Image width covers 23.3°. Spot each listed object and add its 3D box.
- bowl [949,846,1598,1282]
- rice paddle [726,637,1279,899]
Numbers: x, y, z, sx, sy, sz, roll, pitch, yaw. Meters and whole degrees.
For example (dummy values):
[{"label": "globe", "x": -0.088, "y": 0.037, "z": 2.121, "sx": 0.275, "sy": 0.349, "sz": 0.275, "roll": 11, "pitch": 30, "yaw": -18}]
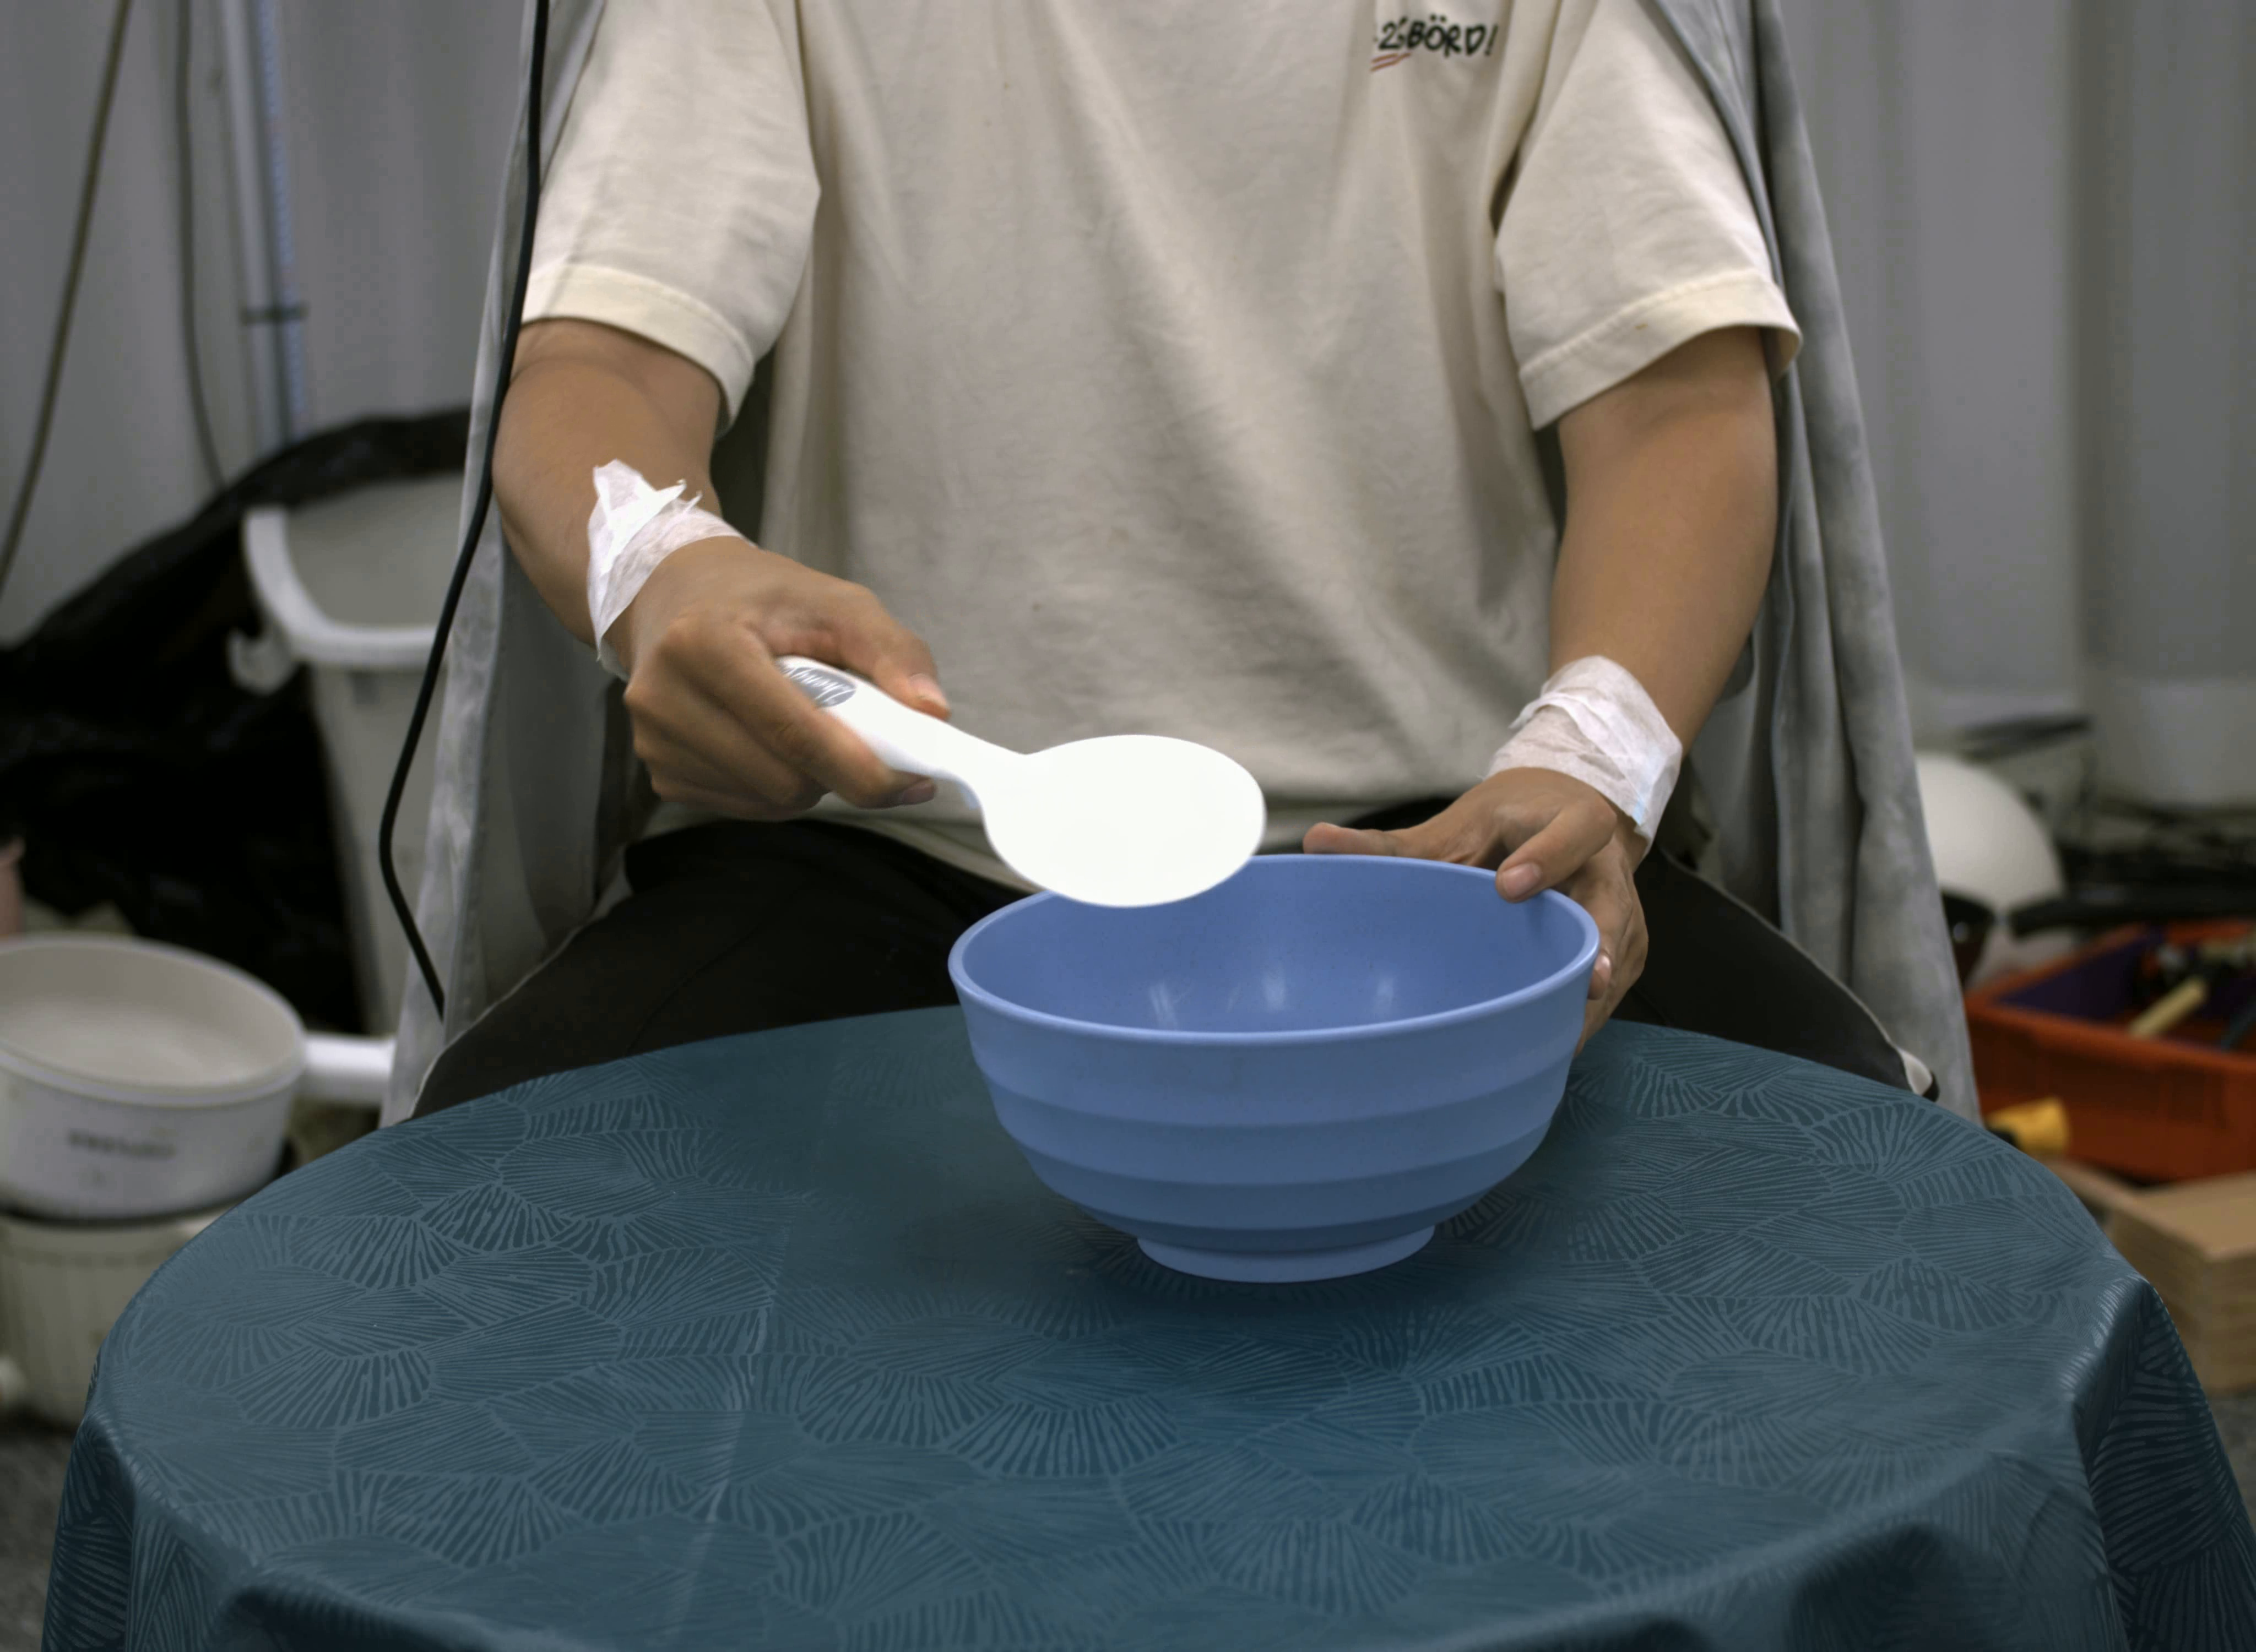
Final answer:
[{"label": "bowl", "x": 0.046, "y": 0.078, "z": 1.661, "sx": 0.196, "sy": 0.095, "sz": 0.198, "roll": -3, "pitch": 16, "yaw": 1}, {"label": "rice paddle", "x": -0.039, "y": -0.020, "z": 1.656, "sx": 0.206, "sy": 0.029, "sz": 0.069, "roll": 19, "pitch": 52, "yaw": 38}]
